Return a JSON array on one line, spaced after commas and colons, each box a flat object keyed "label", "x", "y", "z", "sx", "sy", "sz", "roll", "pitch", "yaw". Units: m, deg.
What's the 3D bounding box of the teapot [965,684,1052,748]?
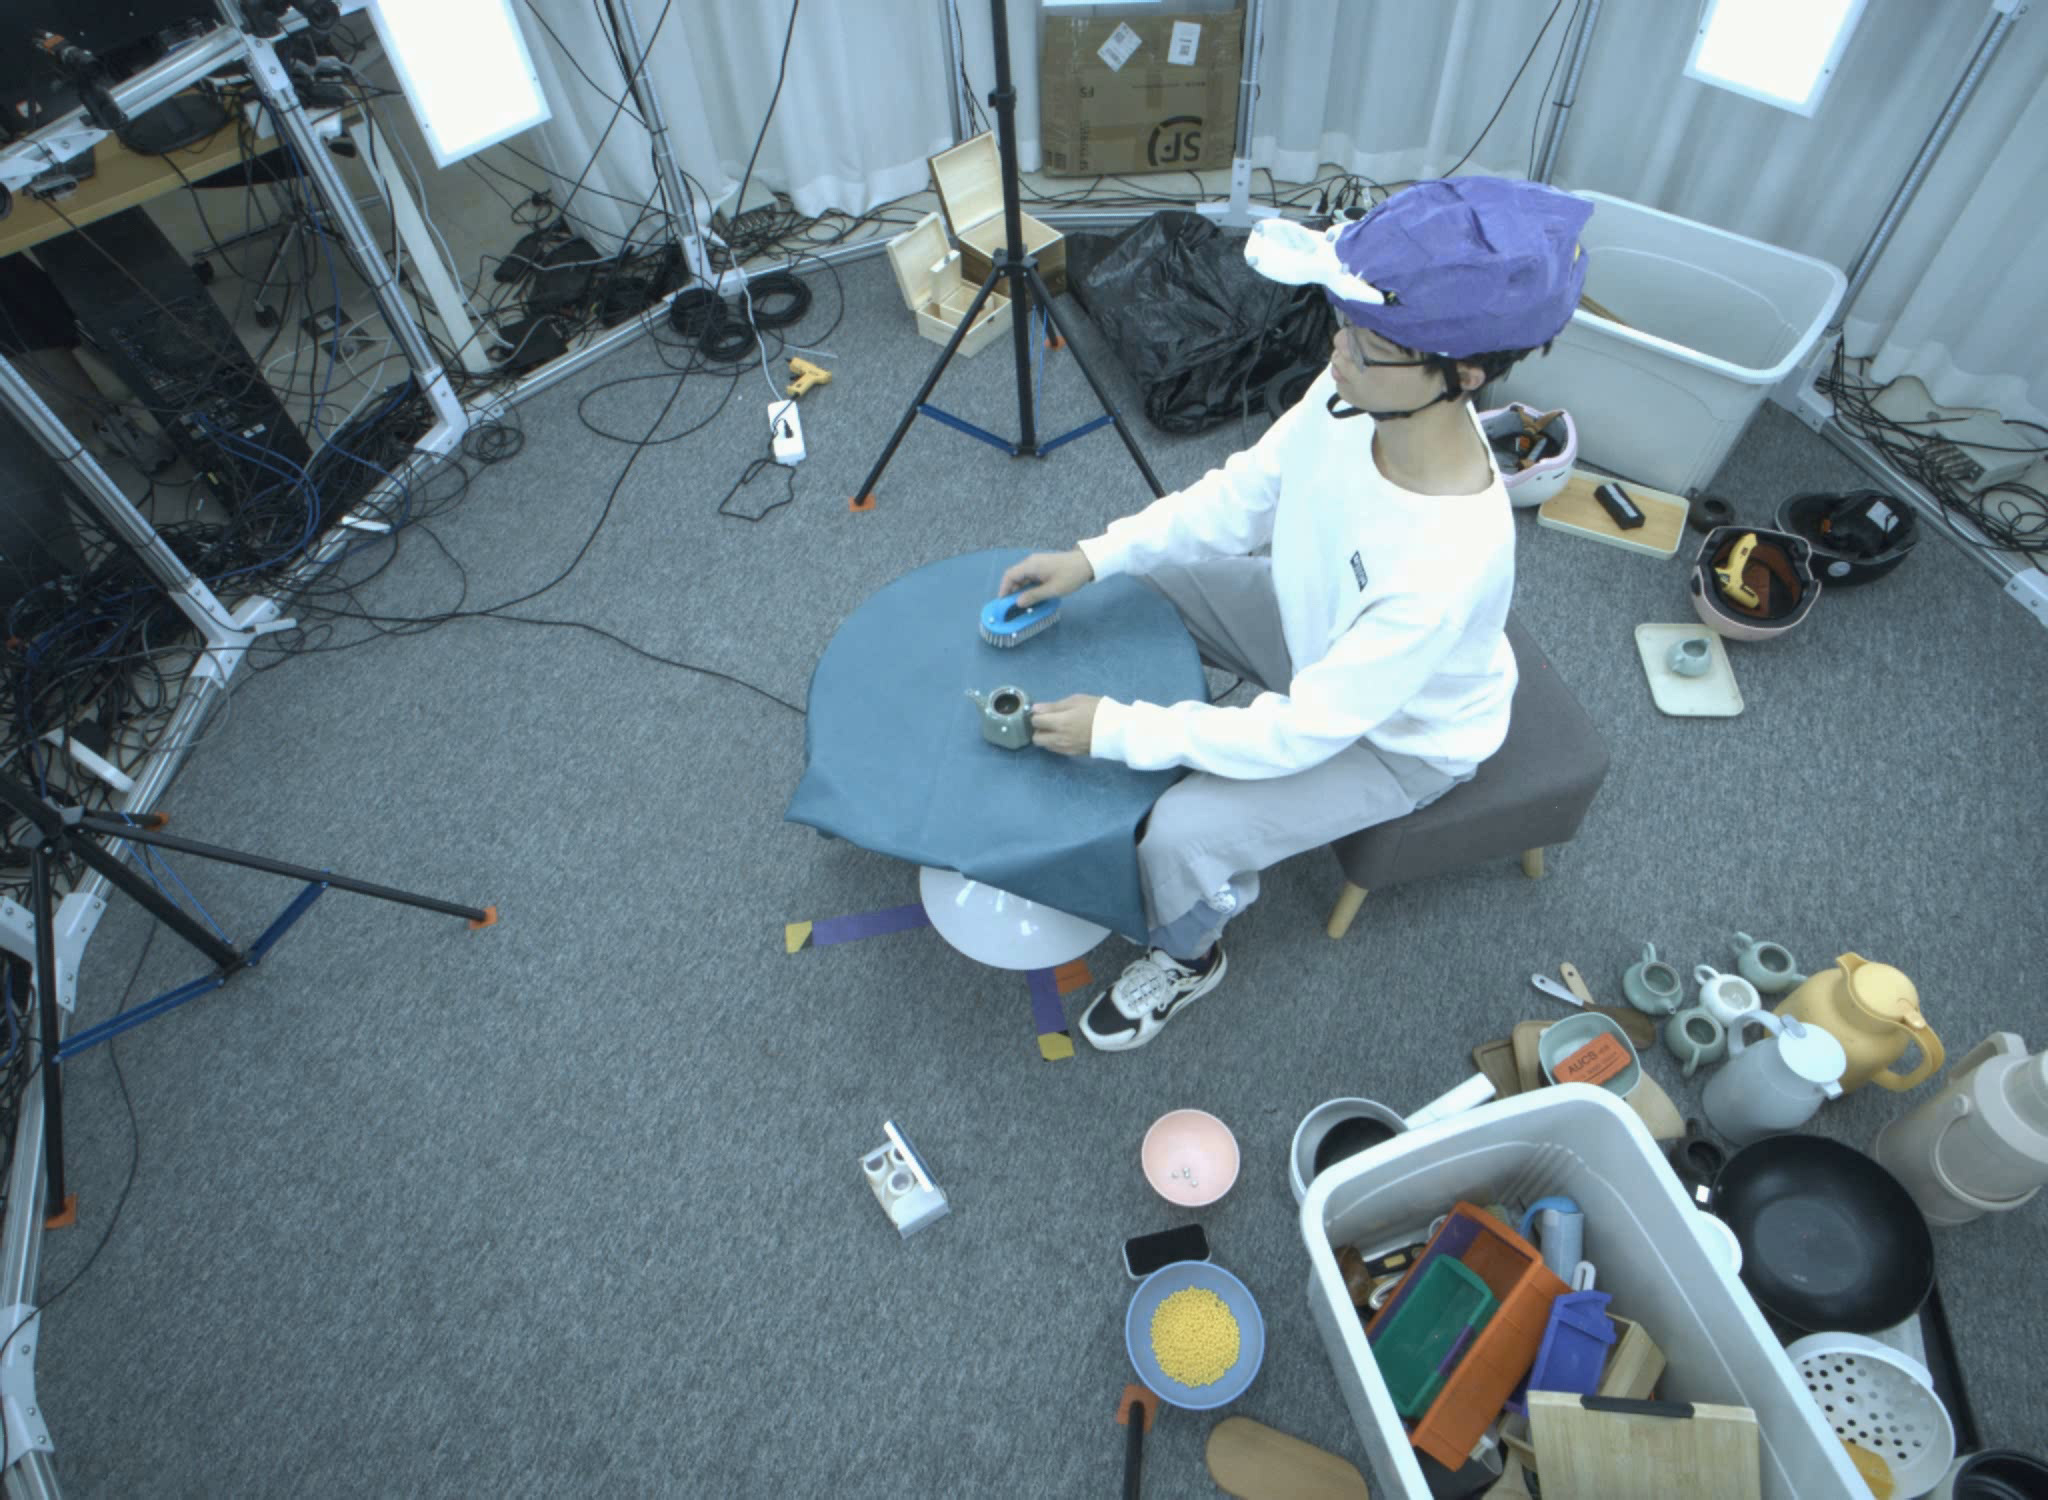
[{"label": "teapot", "x": -0.021, "y": -0.052, "z": 1.773, "sx": 0.131, "sy": 0.076, "sz": 0.079, "roll": 17, "pitch": 63, "yaw": 14}]

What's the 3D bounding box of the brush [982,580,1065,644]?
[{"label": "brush", "x": -0.003, "y": -0.224, "z": 1.898, "sx": 0.143, "sy": 0.064, "sz": 0.082, "roll": -28, "pitch": 55, "yaw": -22}]
